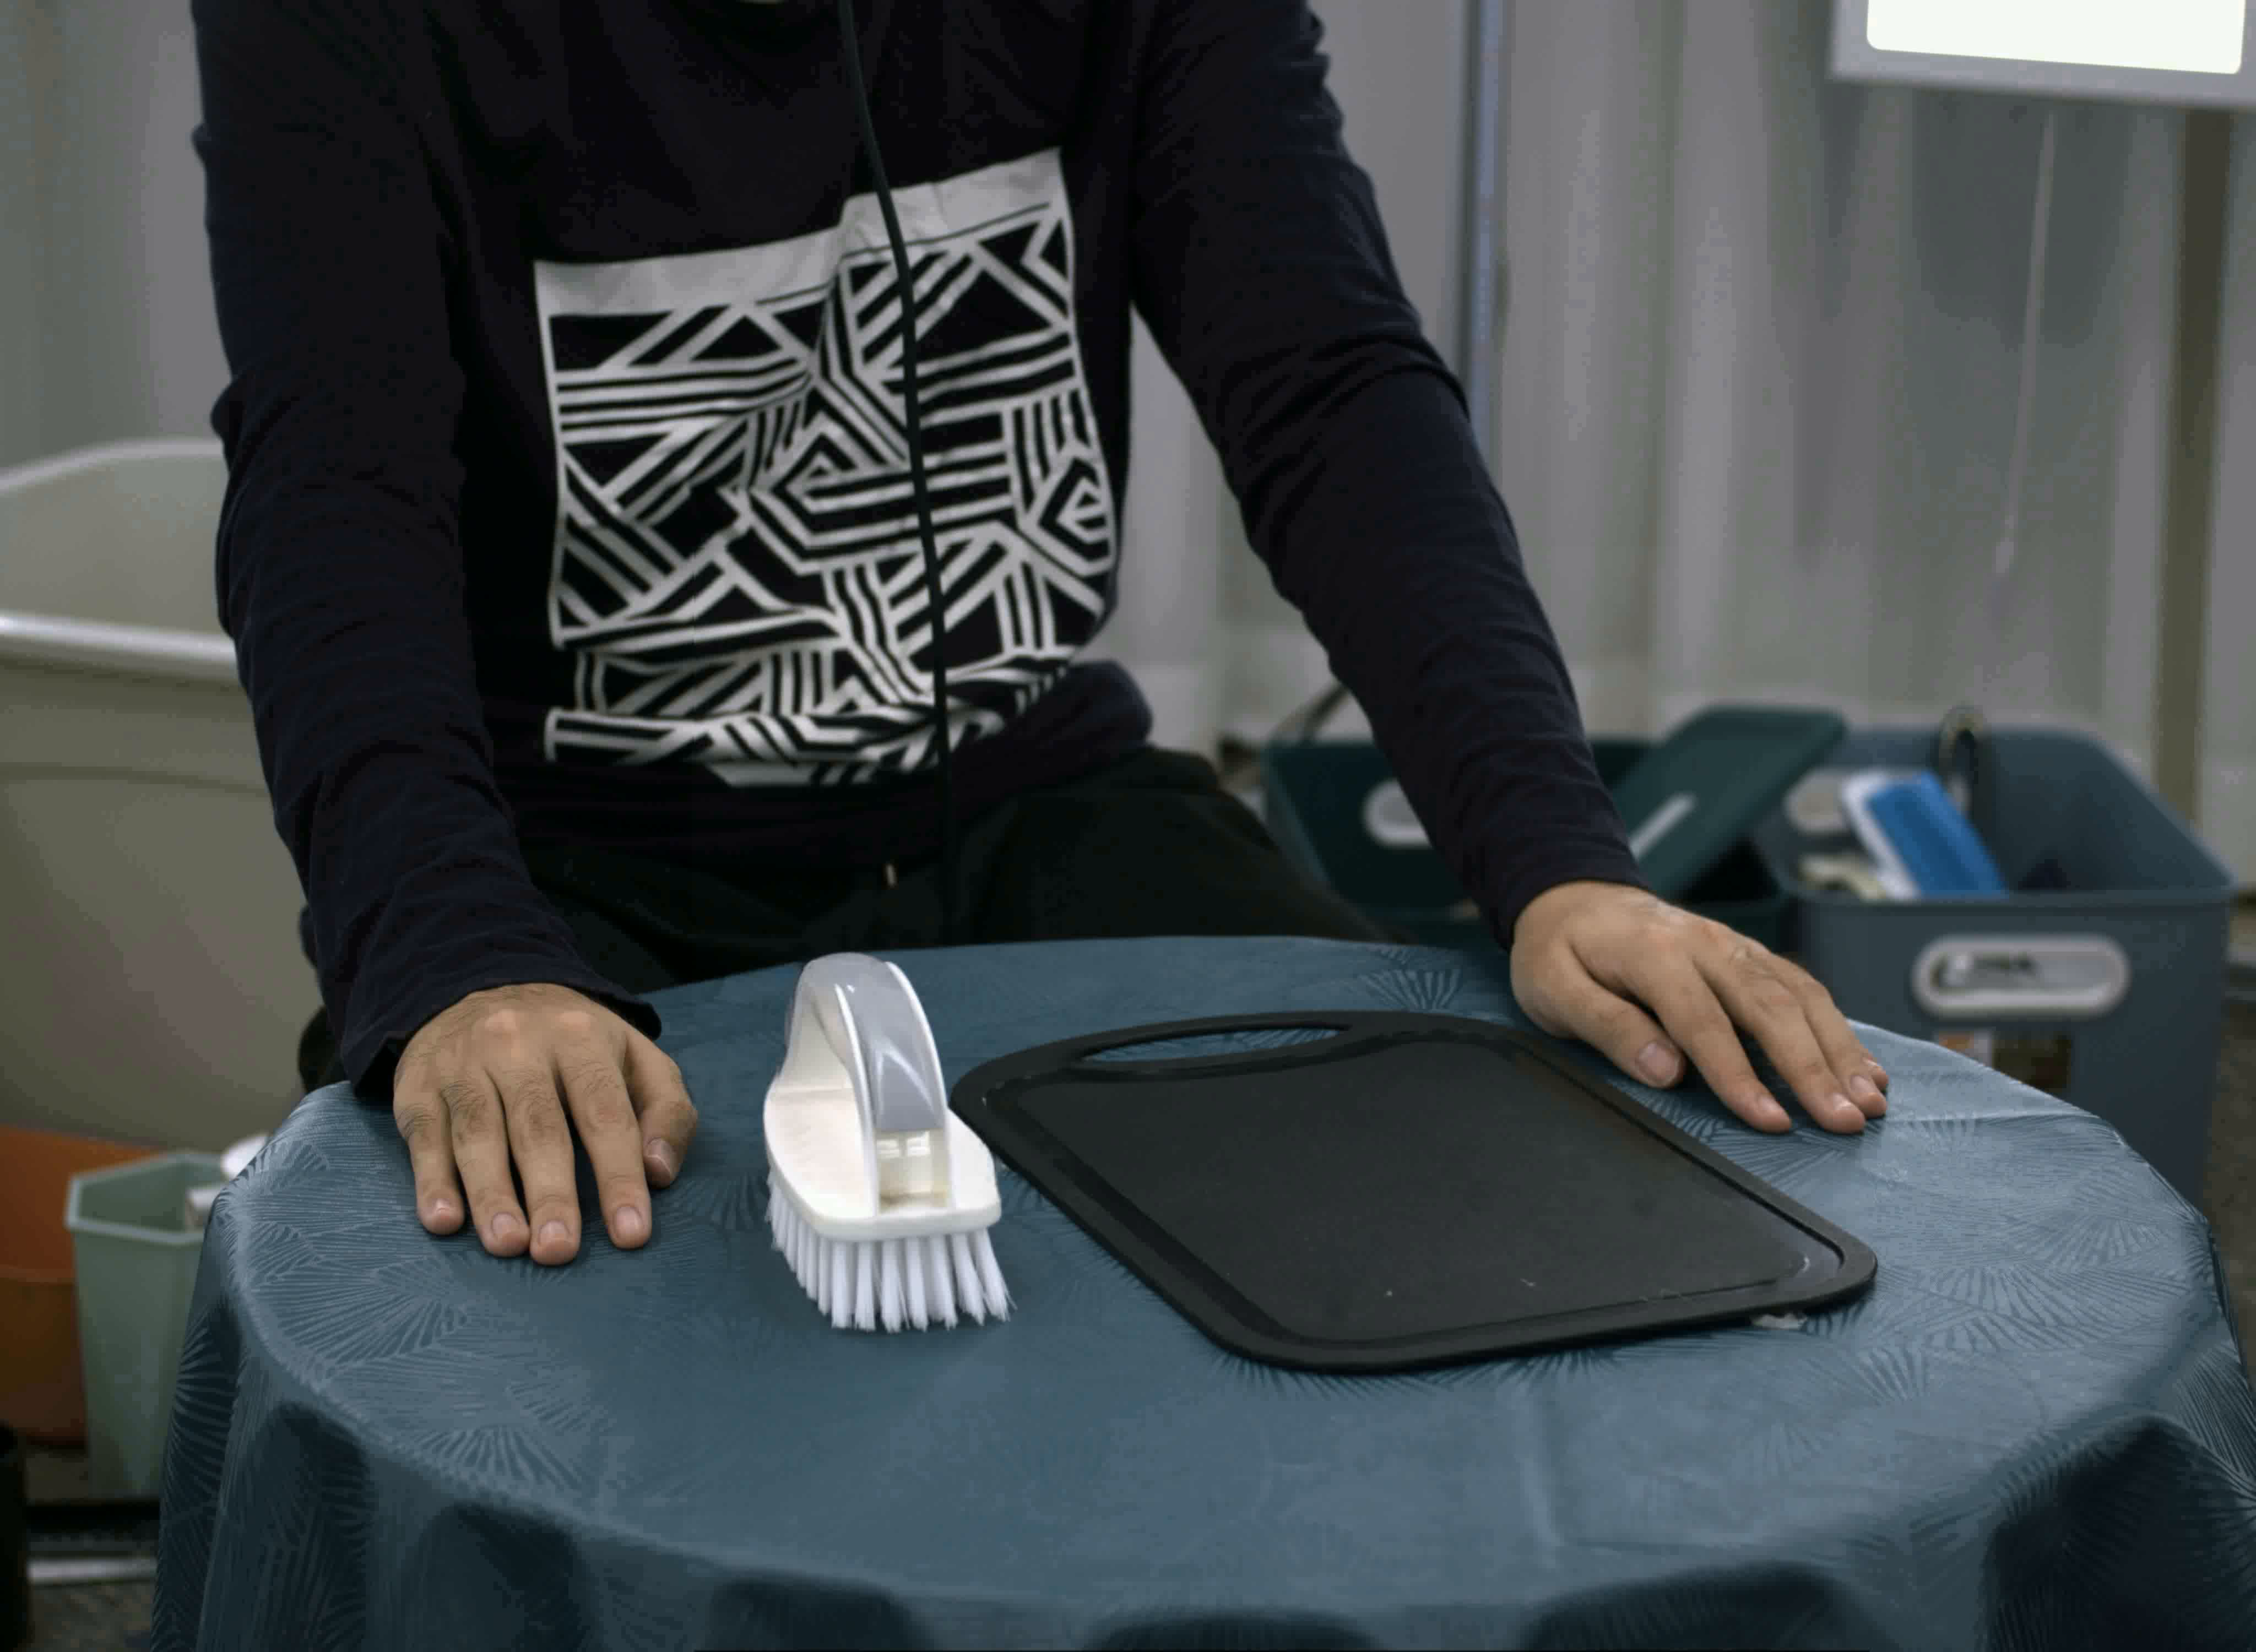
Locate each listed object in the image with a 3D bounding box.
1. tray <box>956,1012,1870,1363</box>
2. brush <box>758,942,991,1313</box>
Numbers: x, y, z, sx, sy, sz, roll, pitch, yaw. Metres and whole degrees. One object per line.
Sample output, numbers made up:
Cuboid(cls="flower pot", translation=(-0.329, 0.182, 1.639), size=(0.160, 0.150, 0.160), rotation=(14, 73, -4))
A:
Cuboid(cls="tray", translation=(0.077, 0.105, 1.641), size=(0.211, 0.010, 0.322), rotation=(-5, 16, -20))
Cuboid(cls="brush", translation=(-0.082, 0.079, 1.570), size=(0.061, 0.095, 0.174), rotation=(-3, 14, -13))
